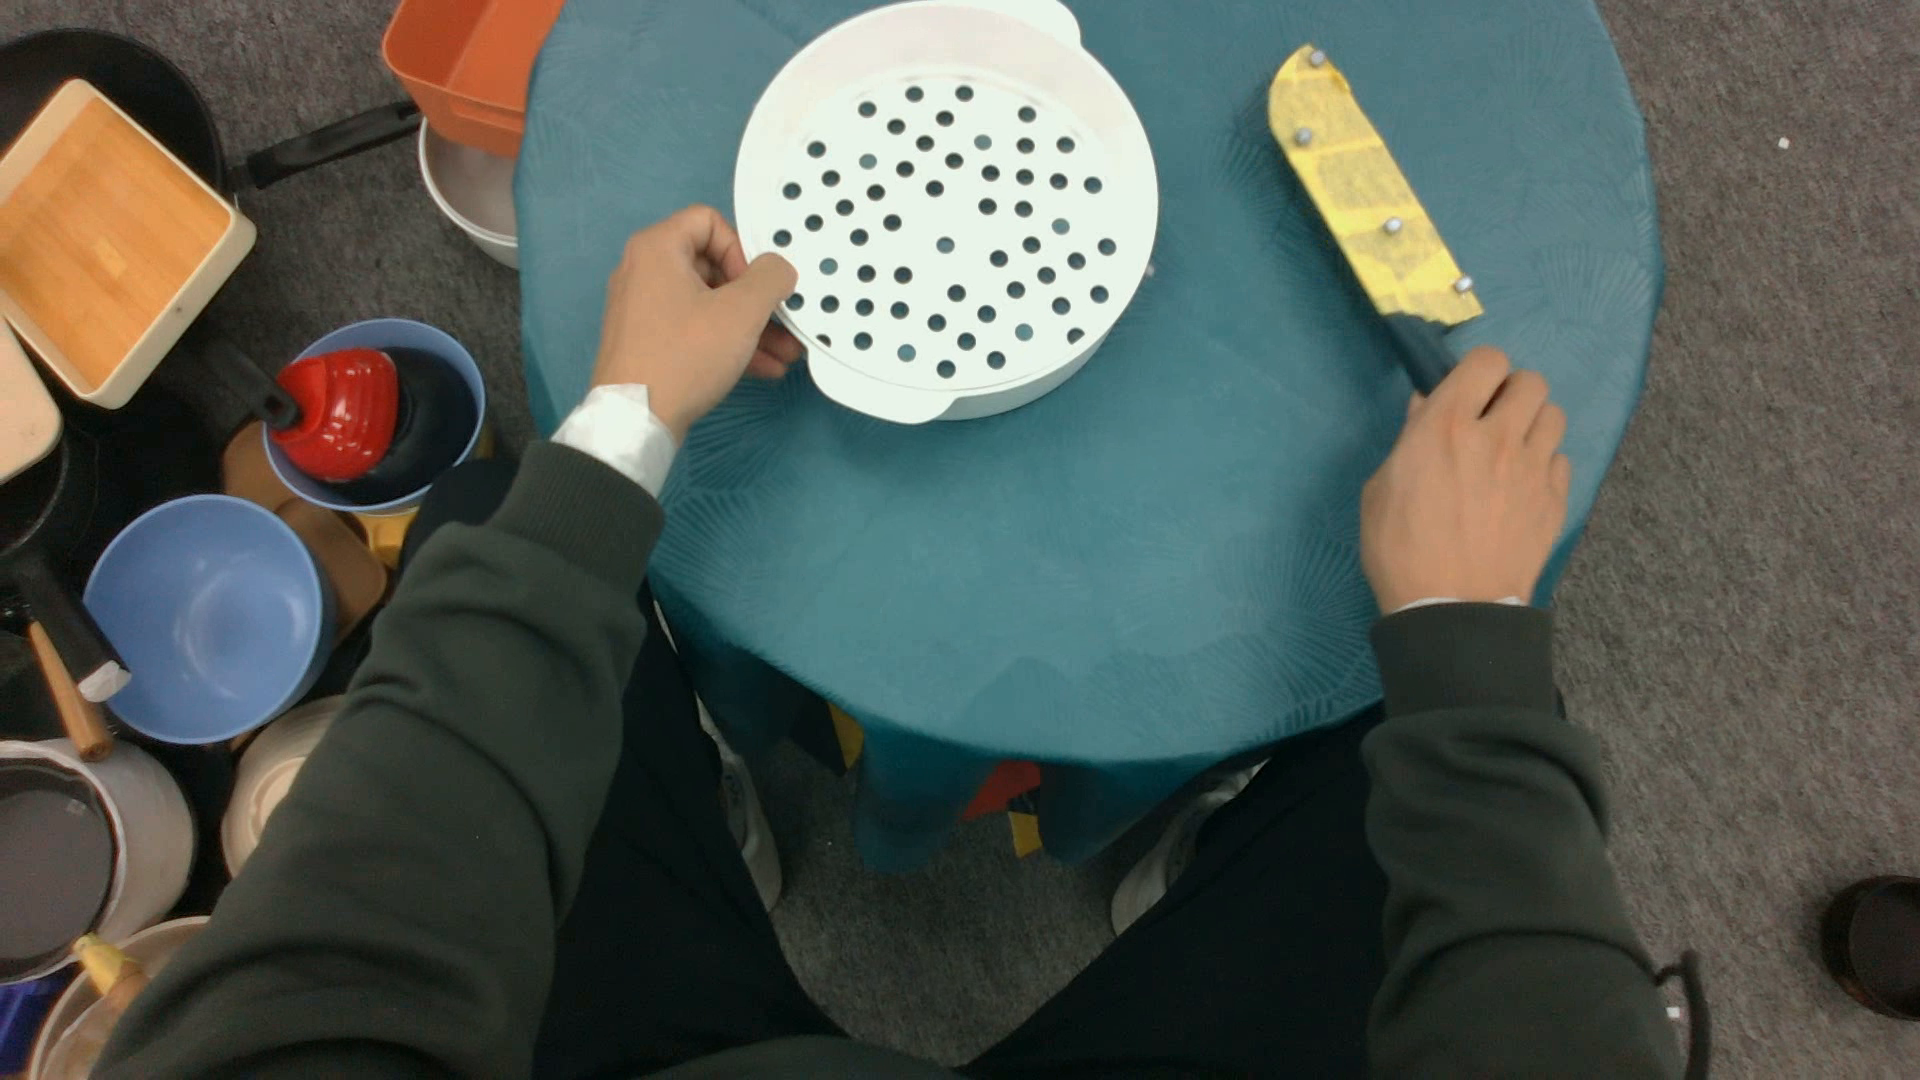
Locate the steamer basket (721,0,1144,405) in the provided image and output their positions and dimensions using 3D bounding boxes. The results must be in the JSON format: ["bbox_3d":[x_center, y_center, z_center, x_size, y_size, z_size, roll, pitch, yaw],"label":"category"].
[{"bbox_3d":[-0.013,-0.169,0.683,0.202,0.069,0.231,19,79,2],"label":"steamer basket"}]

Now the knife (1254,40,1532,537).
[{"bbox_3d":[0.221,-0.135,0.698,0.081,0.027,0.290,-13,75,-35],"label":"knife"}]
